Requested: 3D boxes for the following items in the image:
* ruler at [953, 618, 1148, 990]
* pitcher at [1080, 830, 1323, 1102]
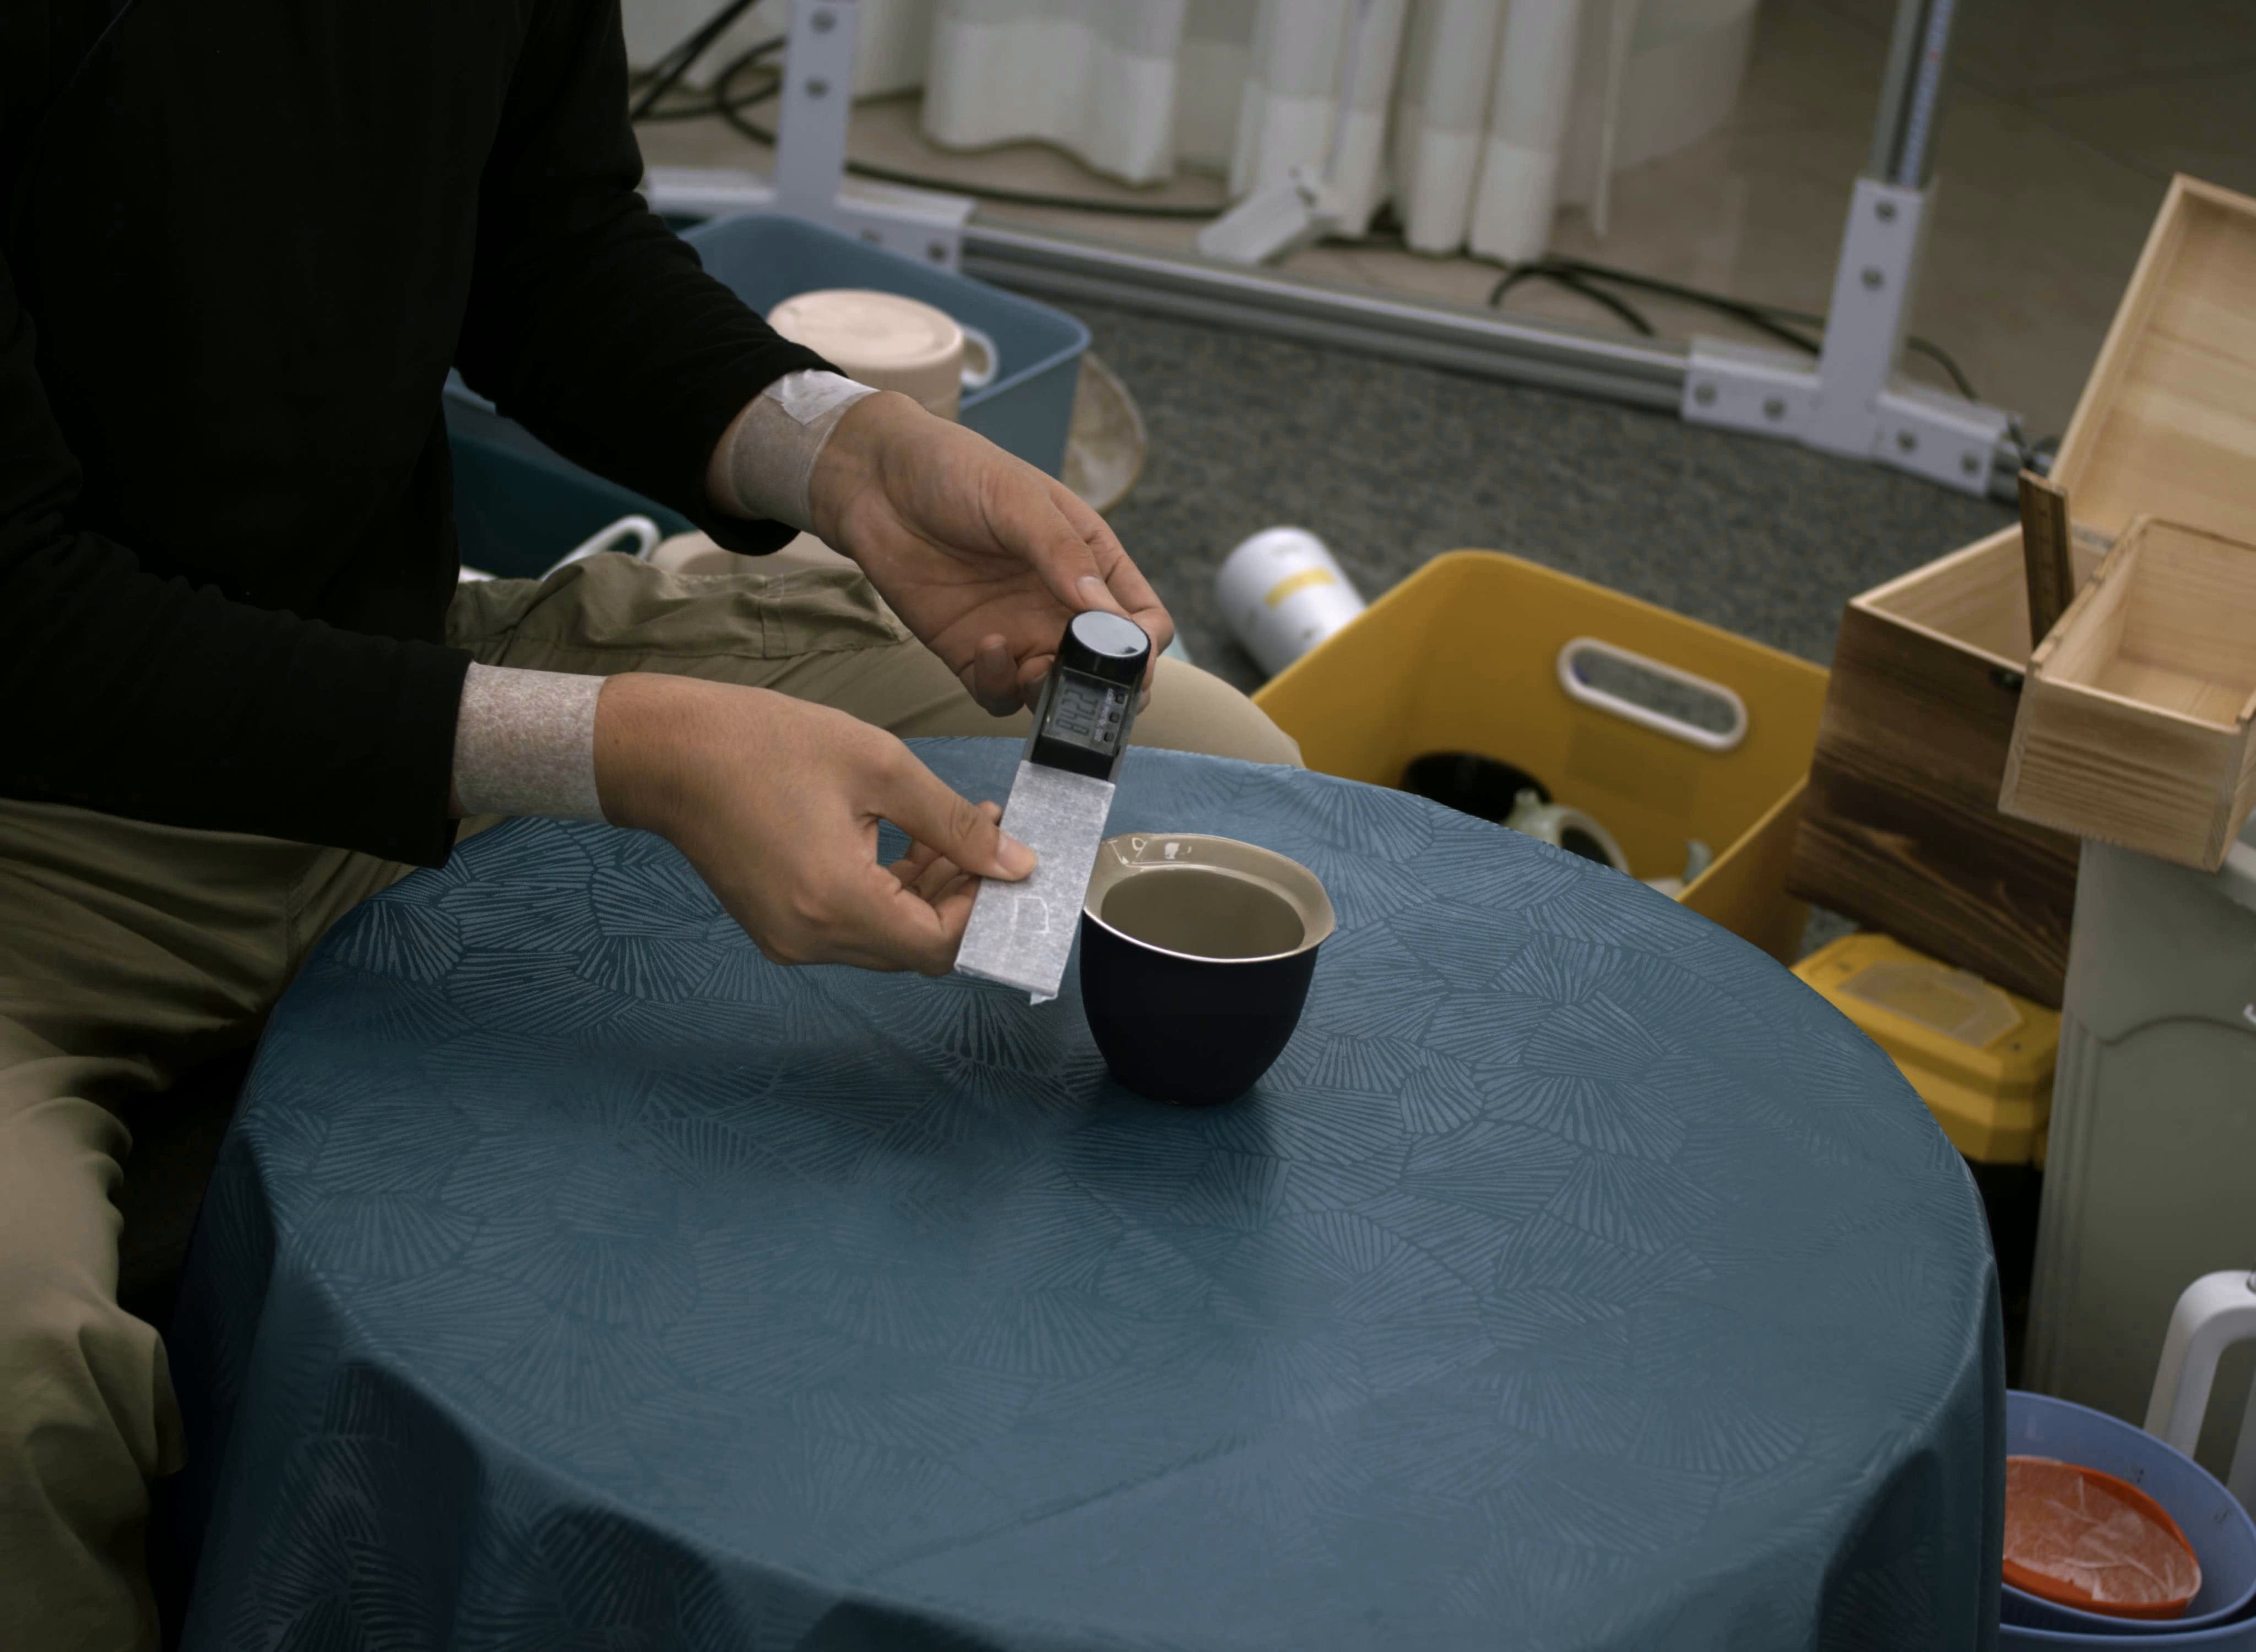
[{"bbox_3d":[-0.024,-0.012,1.863,0.038,0.024,0.219,10,32,4],"label":"ruler"},{"bbox_3d":[0.020,0.052,1.866,0.083,0.071,0.097,-17,36,-37],"label":"pitcher"}]
